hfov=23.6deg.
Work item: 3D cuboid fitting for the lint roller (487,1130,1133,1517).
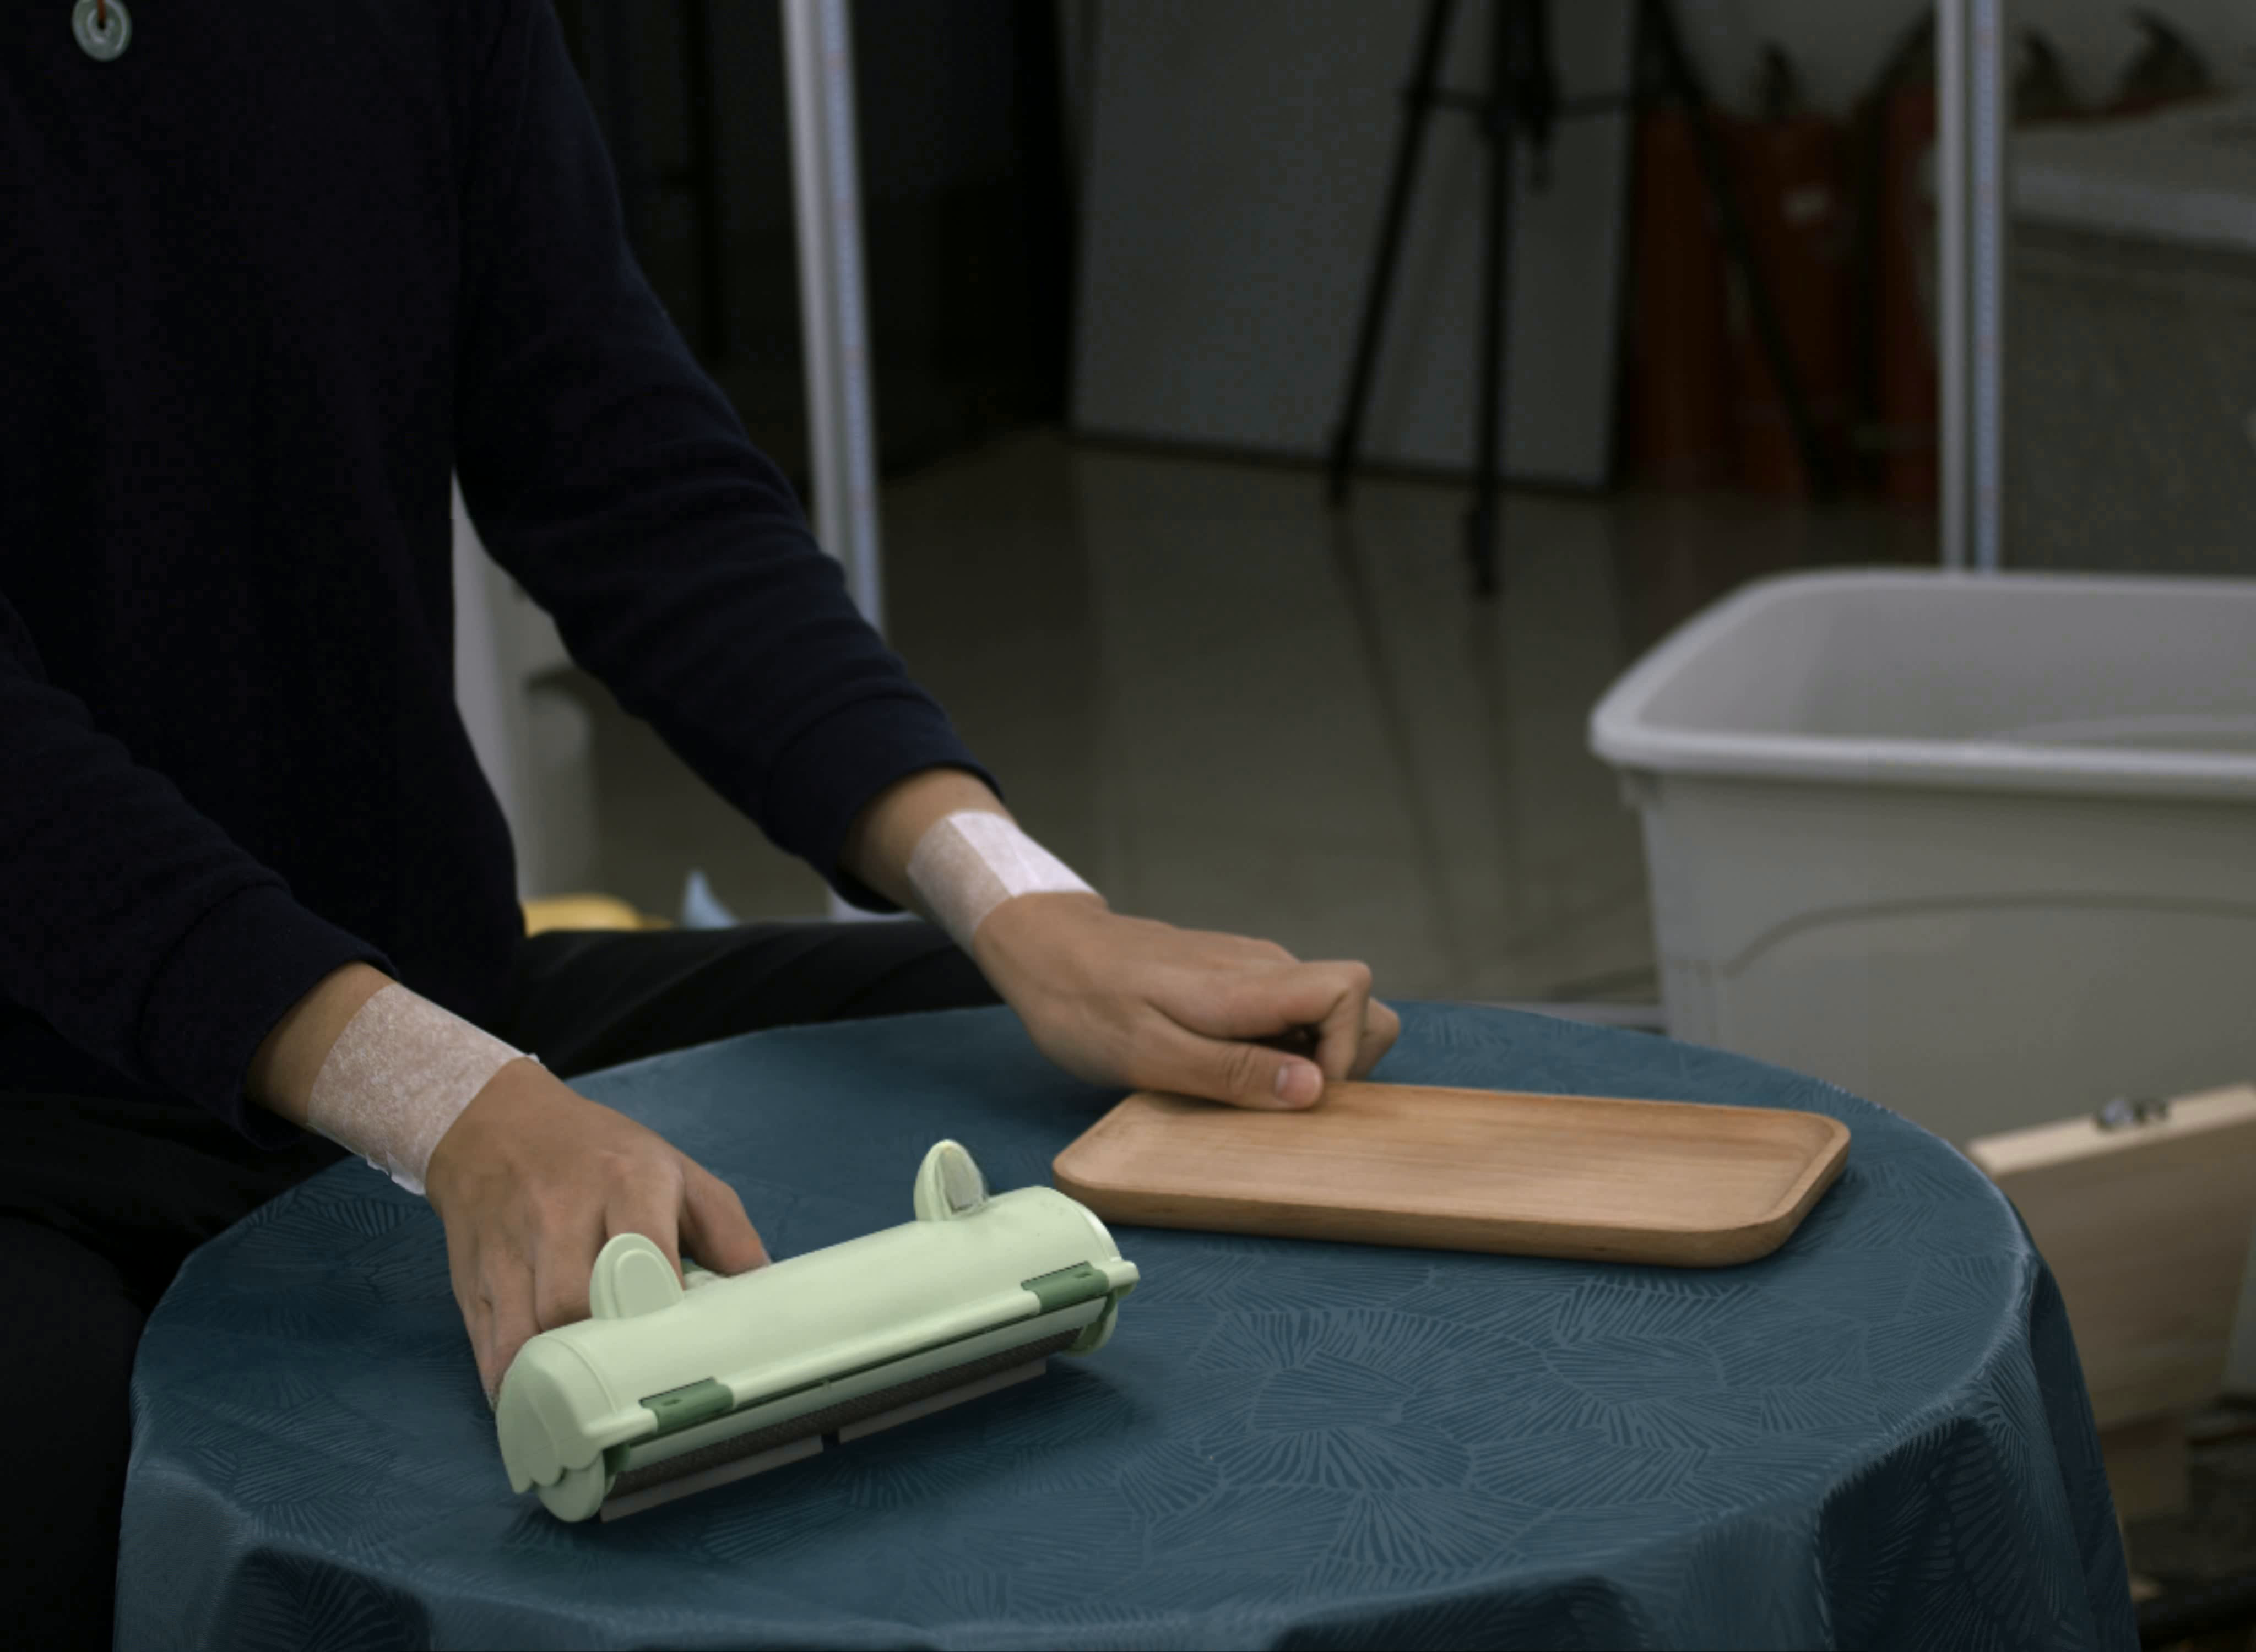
[{"bbox_3d":[-0.125,0.129,1.593,0.194,0.083,0.185,-14,22,-37],"label":"lint roller"}]

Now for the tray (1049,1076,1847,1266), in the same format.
[{"bbox_3d":[0.104,0.111,1.747,0.251,0.023,0.129,1,13,24],"label":"tray"}]
